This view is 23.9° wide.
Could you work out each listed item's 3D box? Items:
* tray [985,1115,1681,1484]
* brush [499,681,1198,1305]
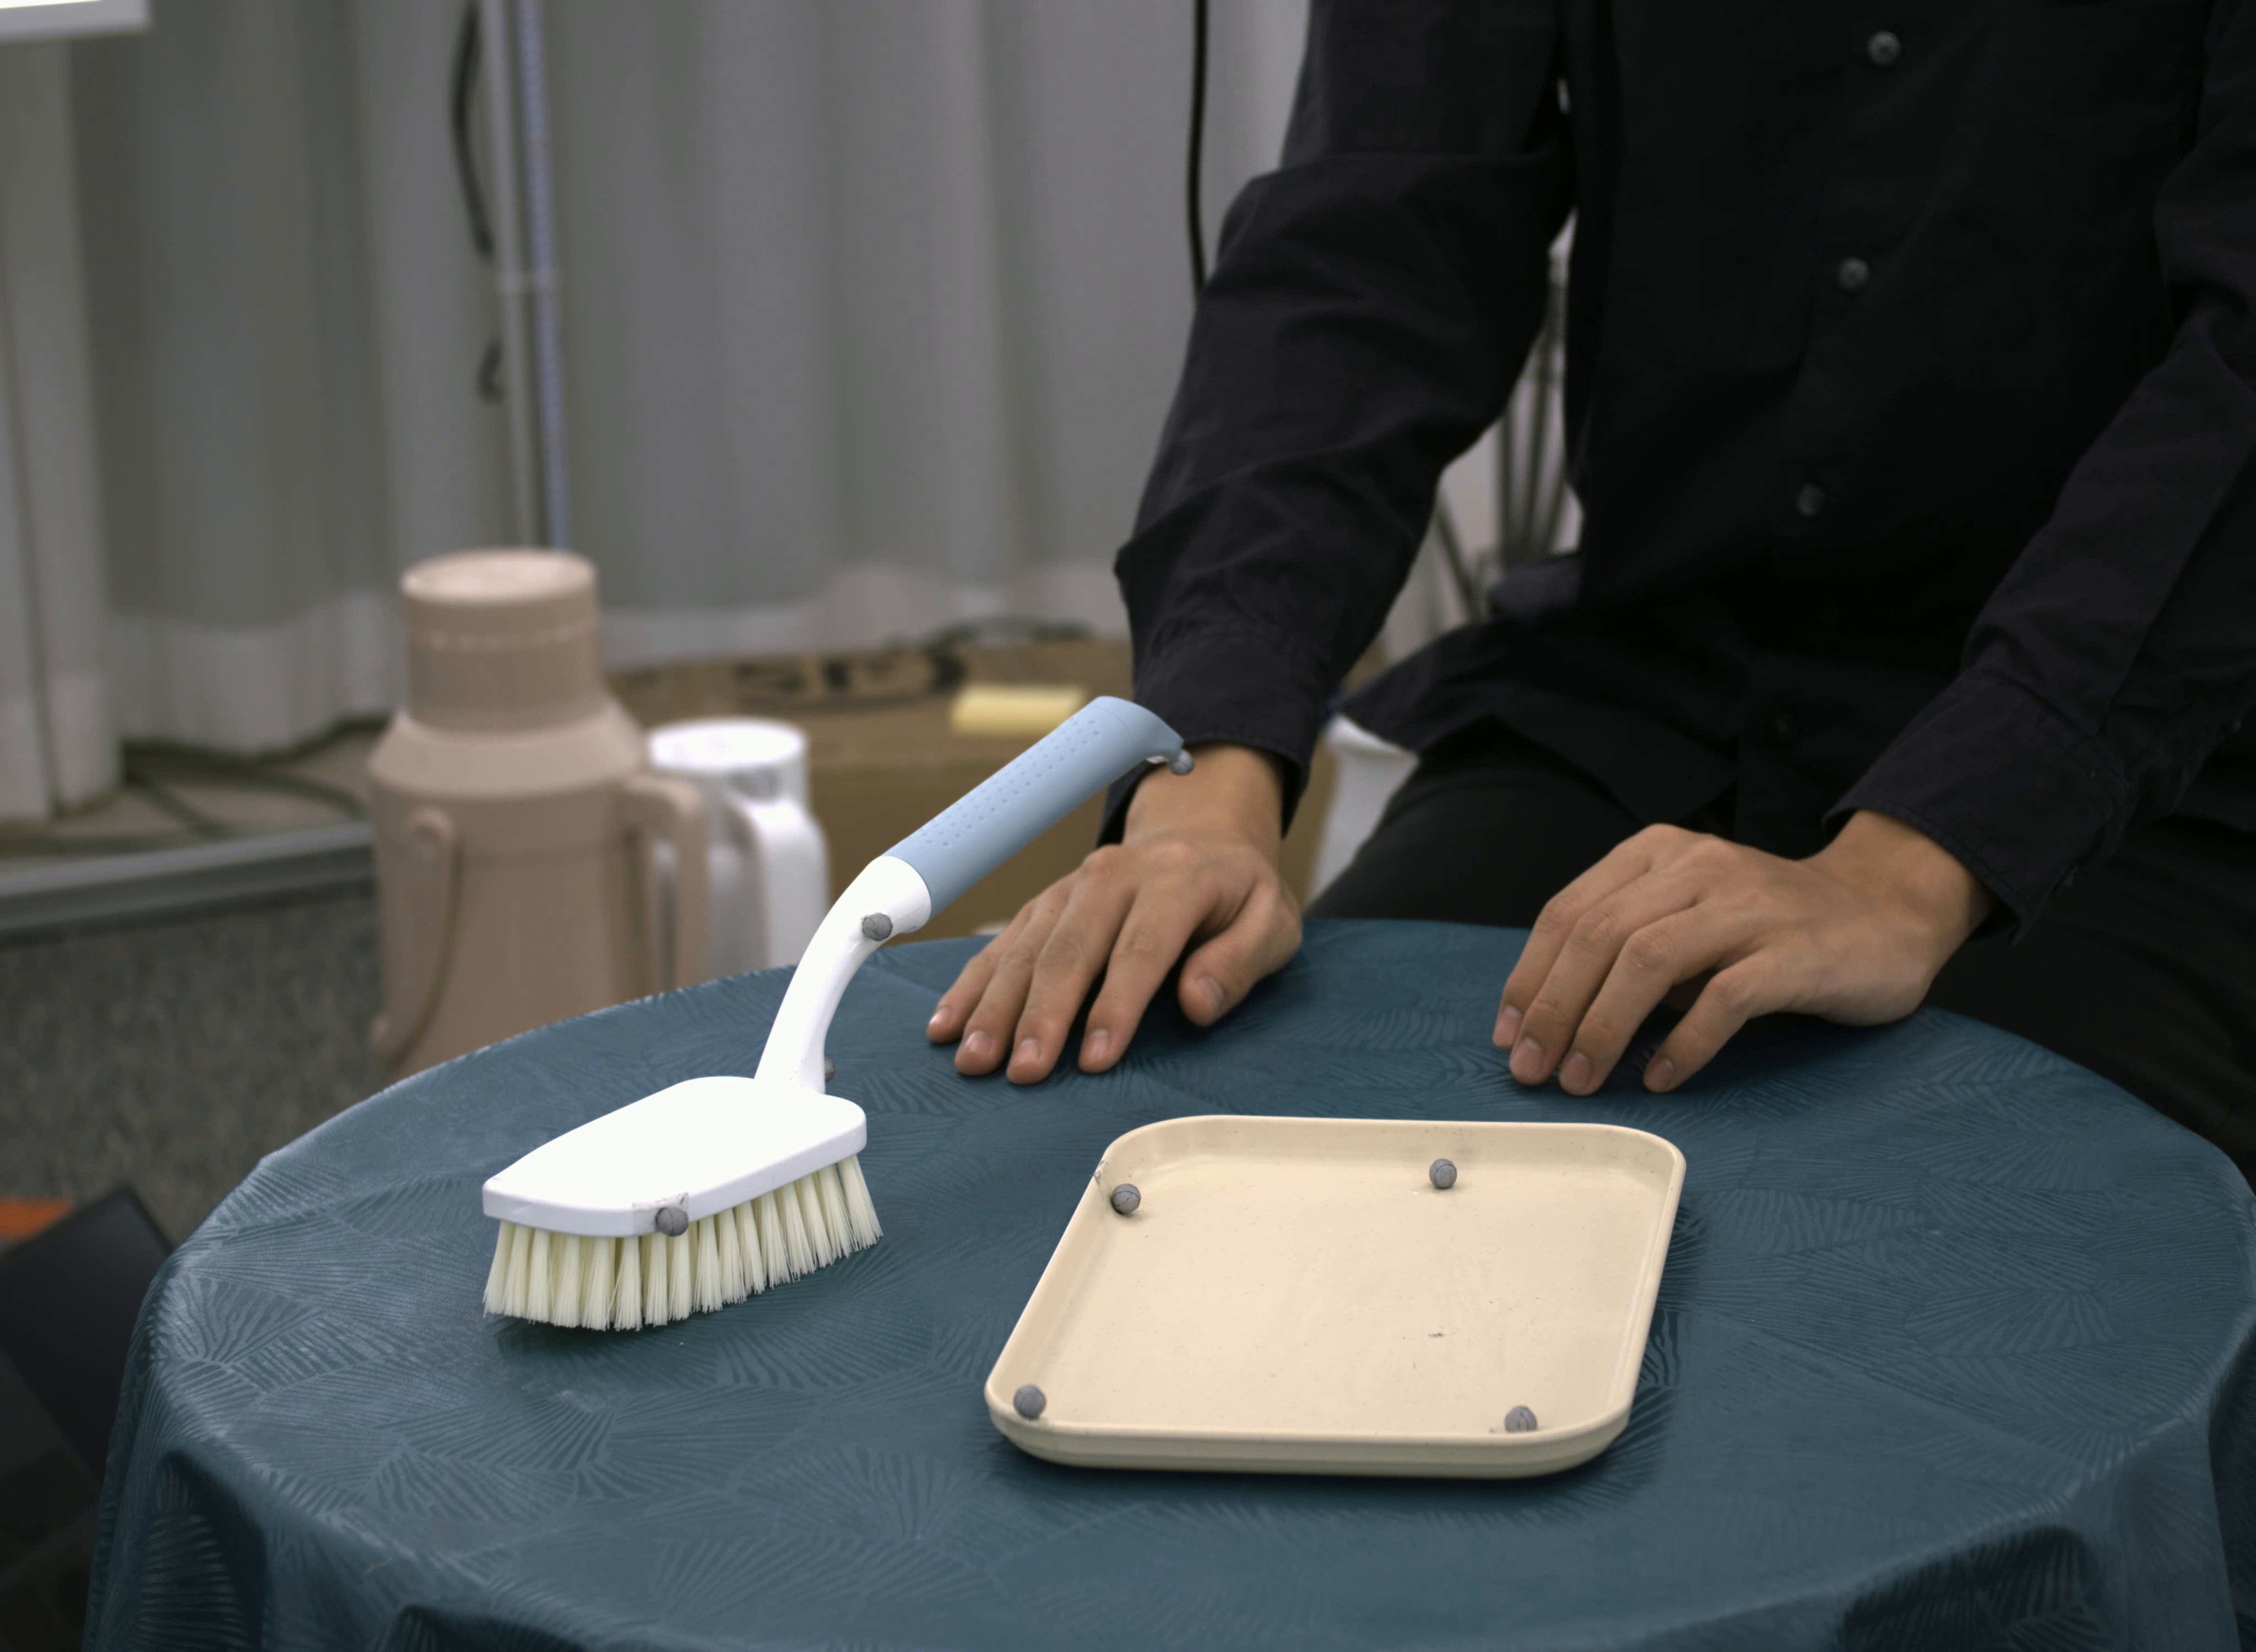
[{"bbox_3d":[0.061,0.128,1.453,0.172,0.017,0.238,1,17,11],"label":"tray"},{"bbox_3d":[-0.068,0.063,1.580,0.084,0.085,0.320,41,45,13],"label":"brush"}]
